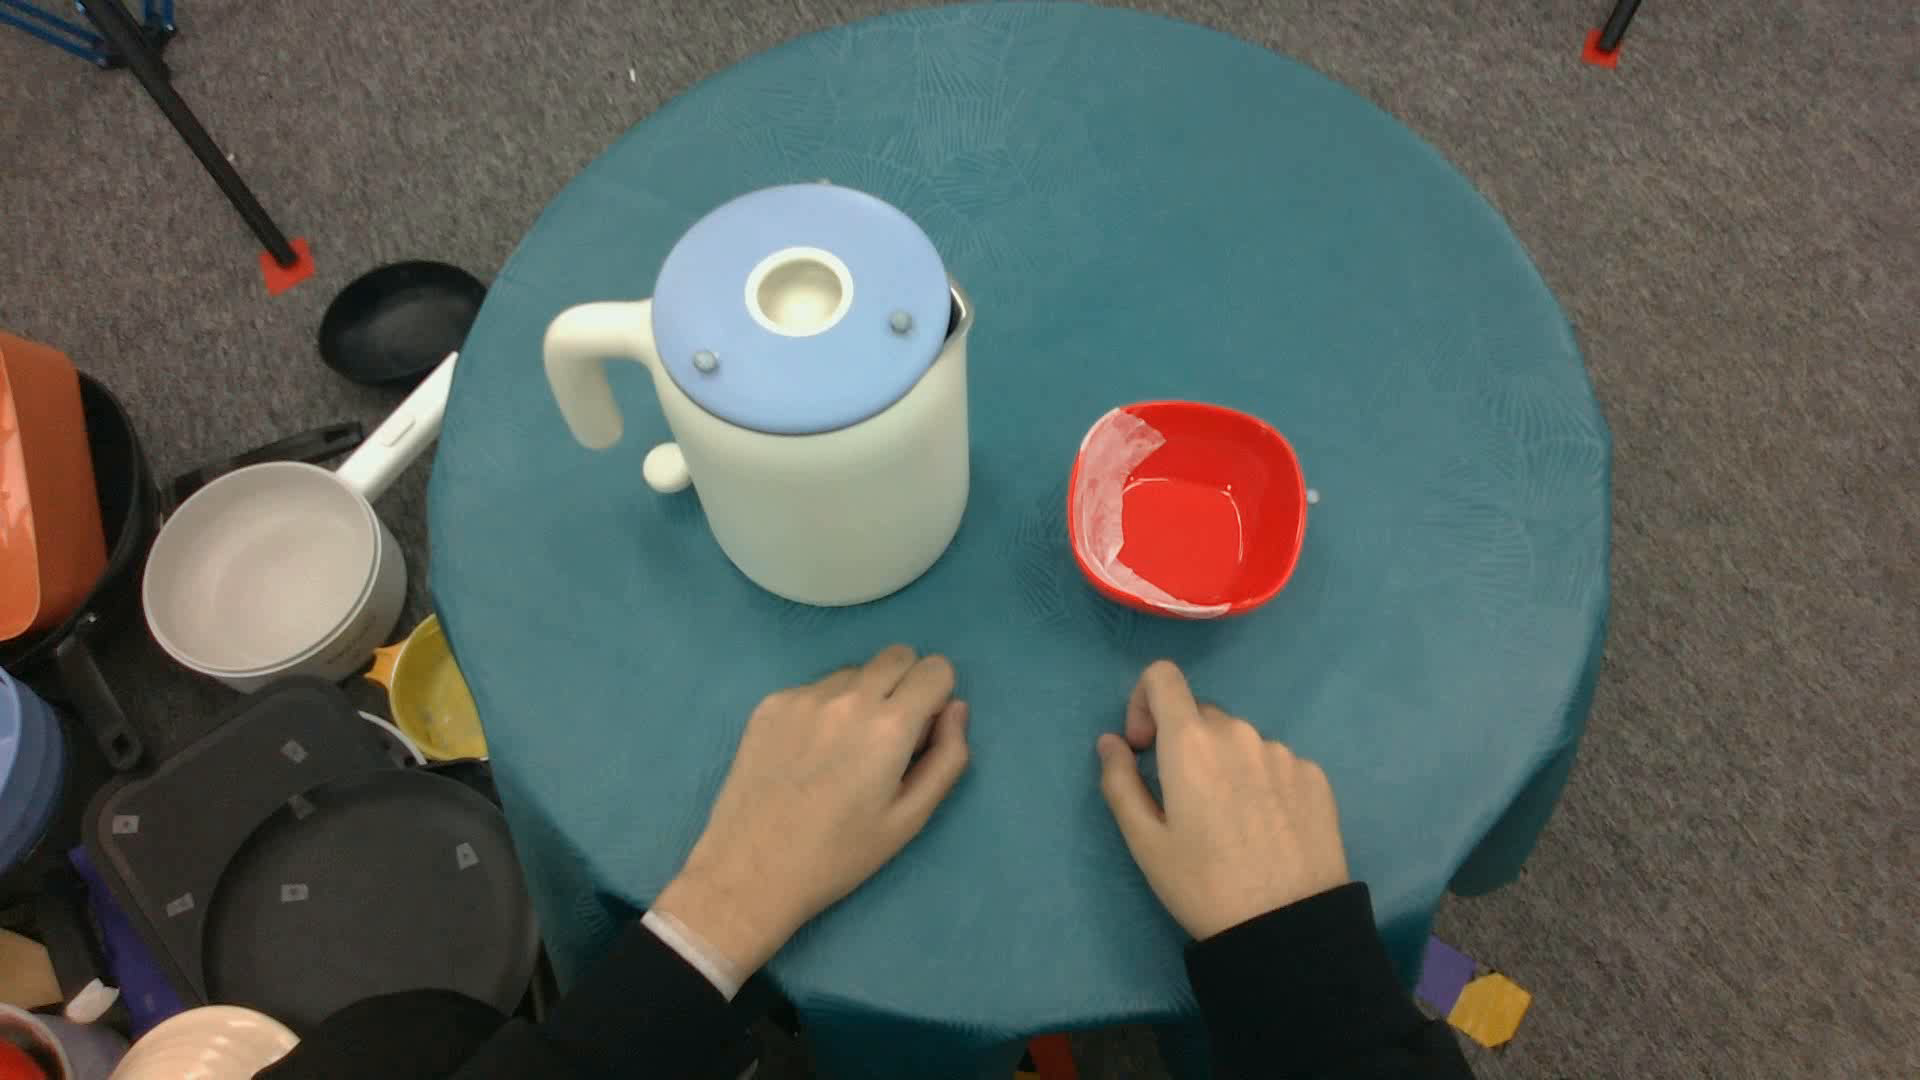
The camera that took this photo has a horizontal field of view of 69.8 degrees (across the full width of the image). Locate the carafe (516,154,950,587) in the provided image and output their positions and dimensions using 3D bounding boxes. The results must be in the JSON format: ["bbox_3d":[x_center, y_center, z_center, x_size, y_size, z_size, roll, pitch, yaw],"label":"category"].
[{"bbox_3d":[-0.096,-0.069,0.614,0.191,0.182,0.132,0,64,2],"label":"carafe"}]

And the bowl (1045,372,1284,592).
[{"bbox_3d":[0.093,-0.020,0.655,0.119,0.051,0.119,1,63,-2],"label":"bowl"}]
